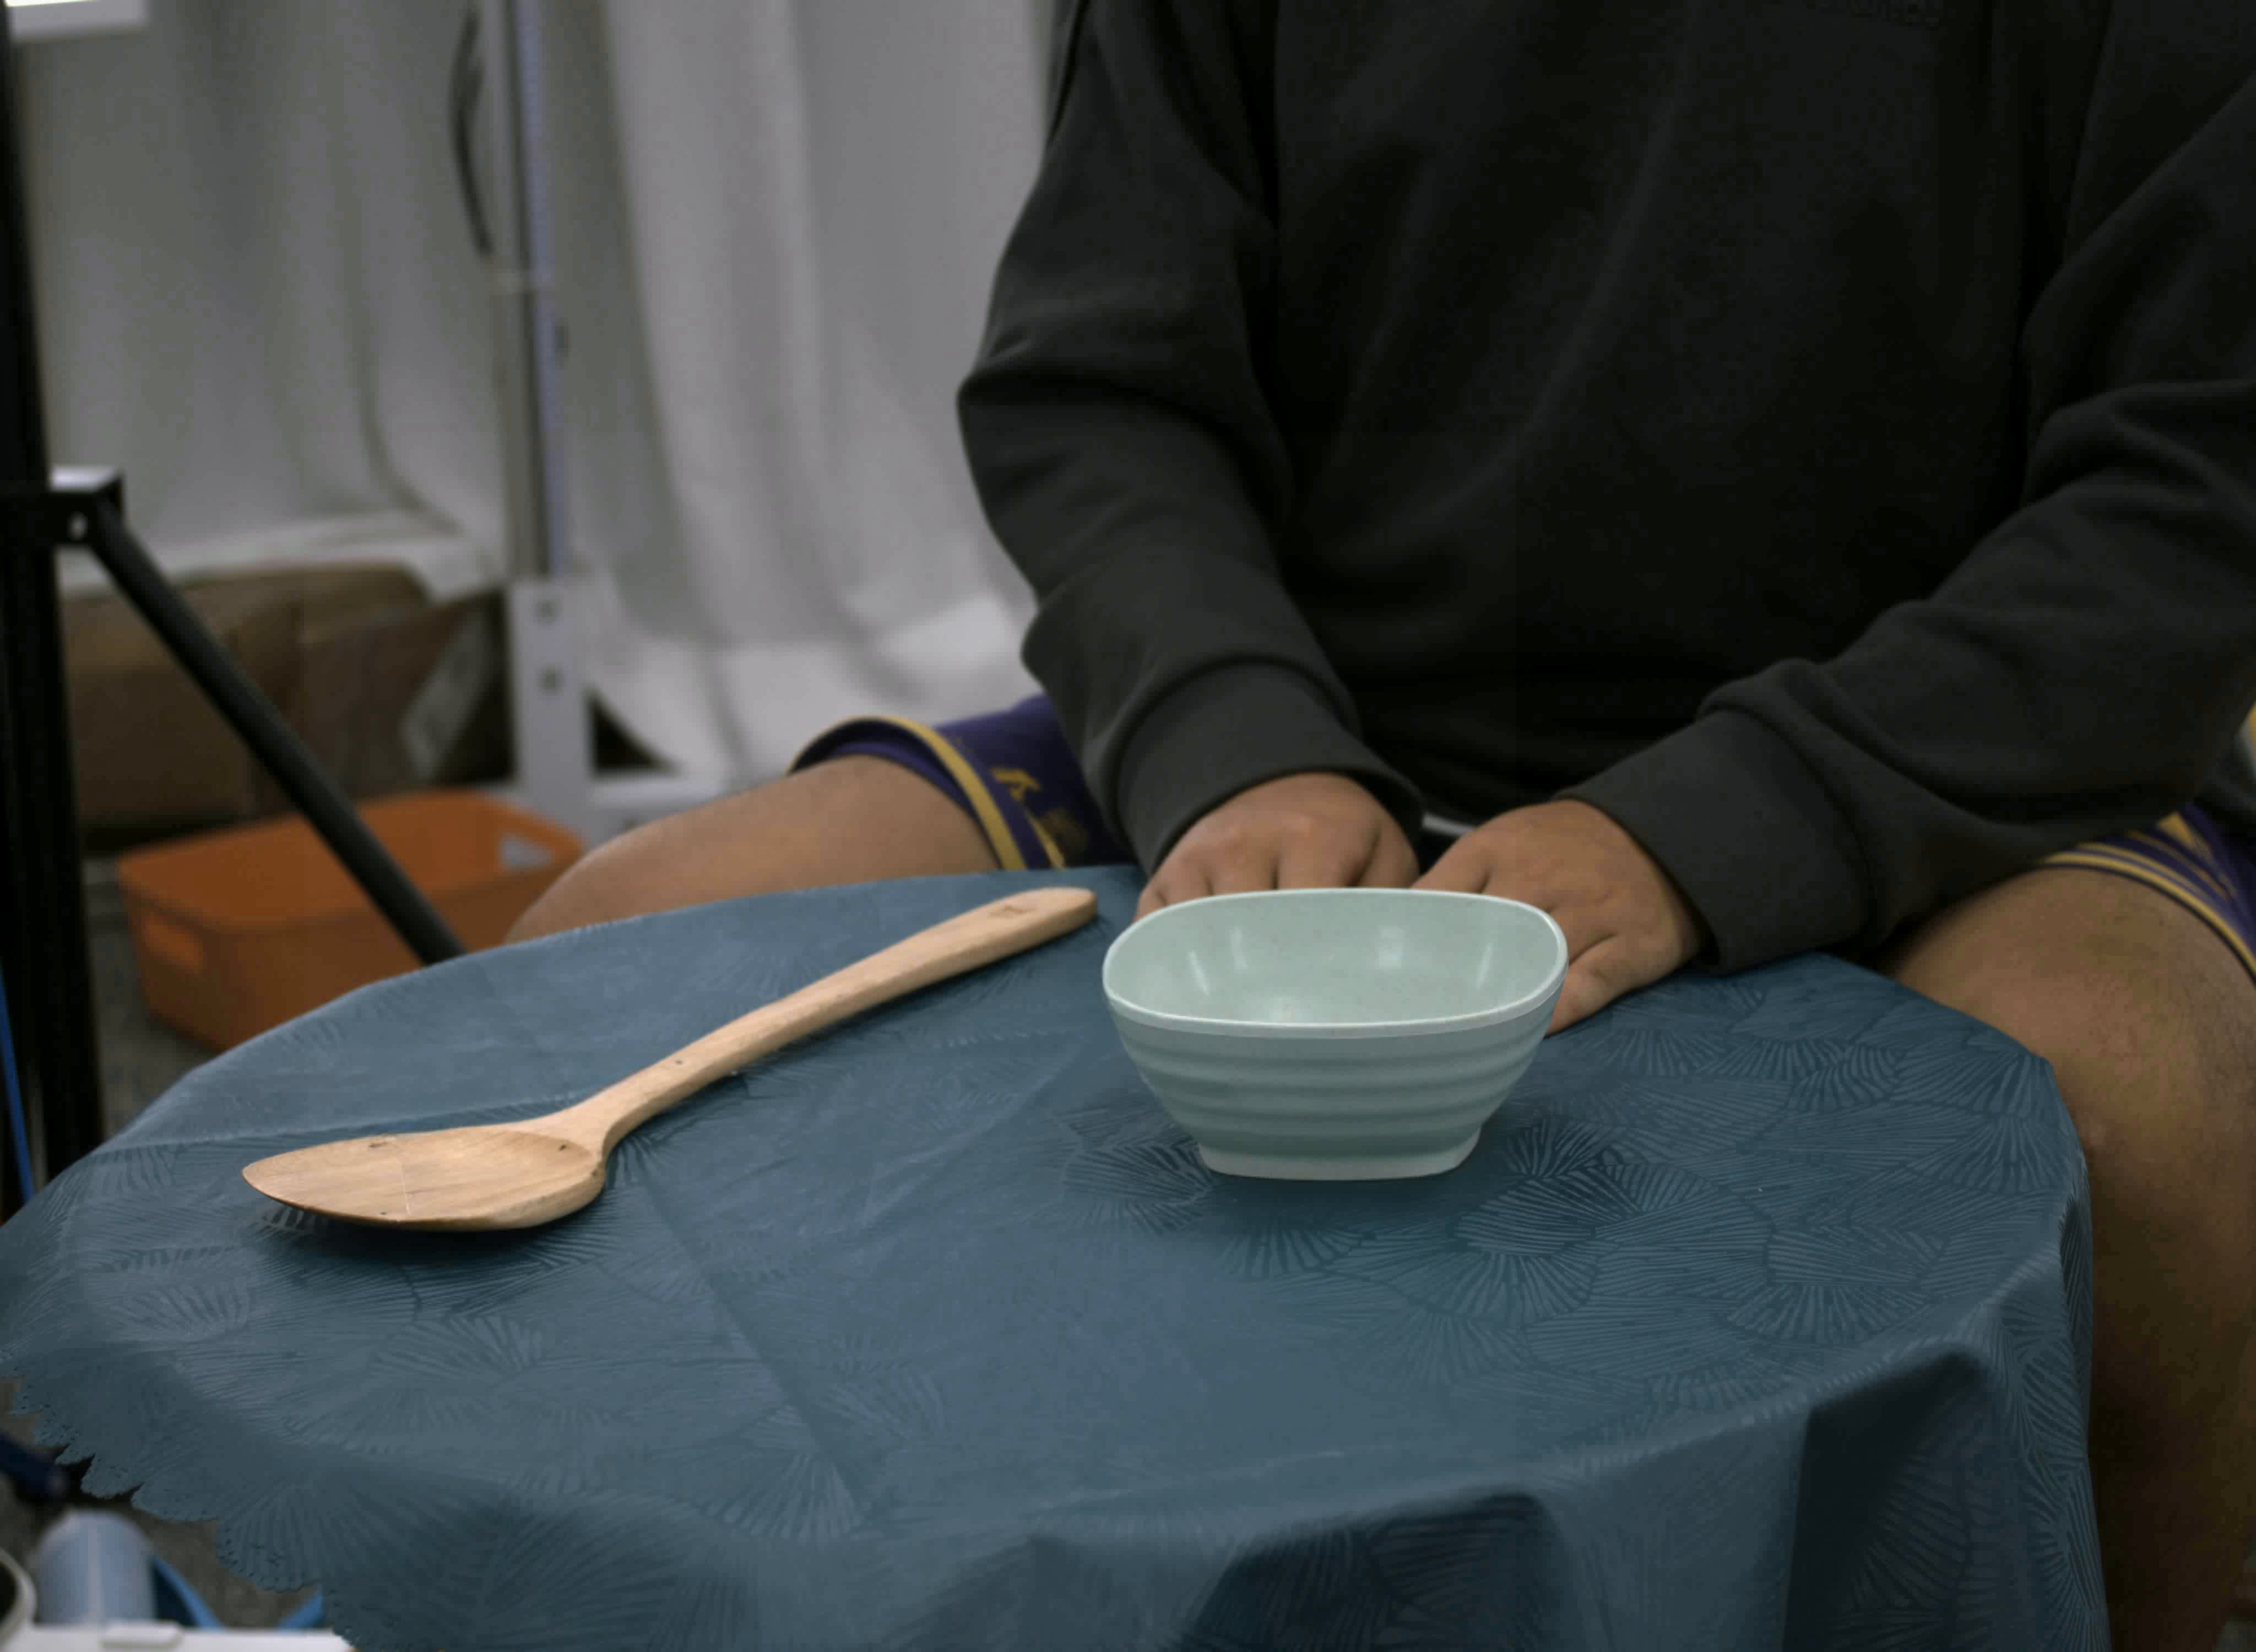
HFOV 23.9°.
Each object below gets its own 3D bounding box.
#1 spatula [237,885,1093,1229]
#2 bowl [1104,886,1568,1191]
[{"bbox_3d":[-0.127,0.068,1.692,0.097,0.018,0.383,10,20,32],"label":"spatula"},{"bbox_3d":[0.063,0.067,1.595,0.151,0.058,0.152,-3,17,0],"label":"bowl"}]
